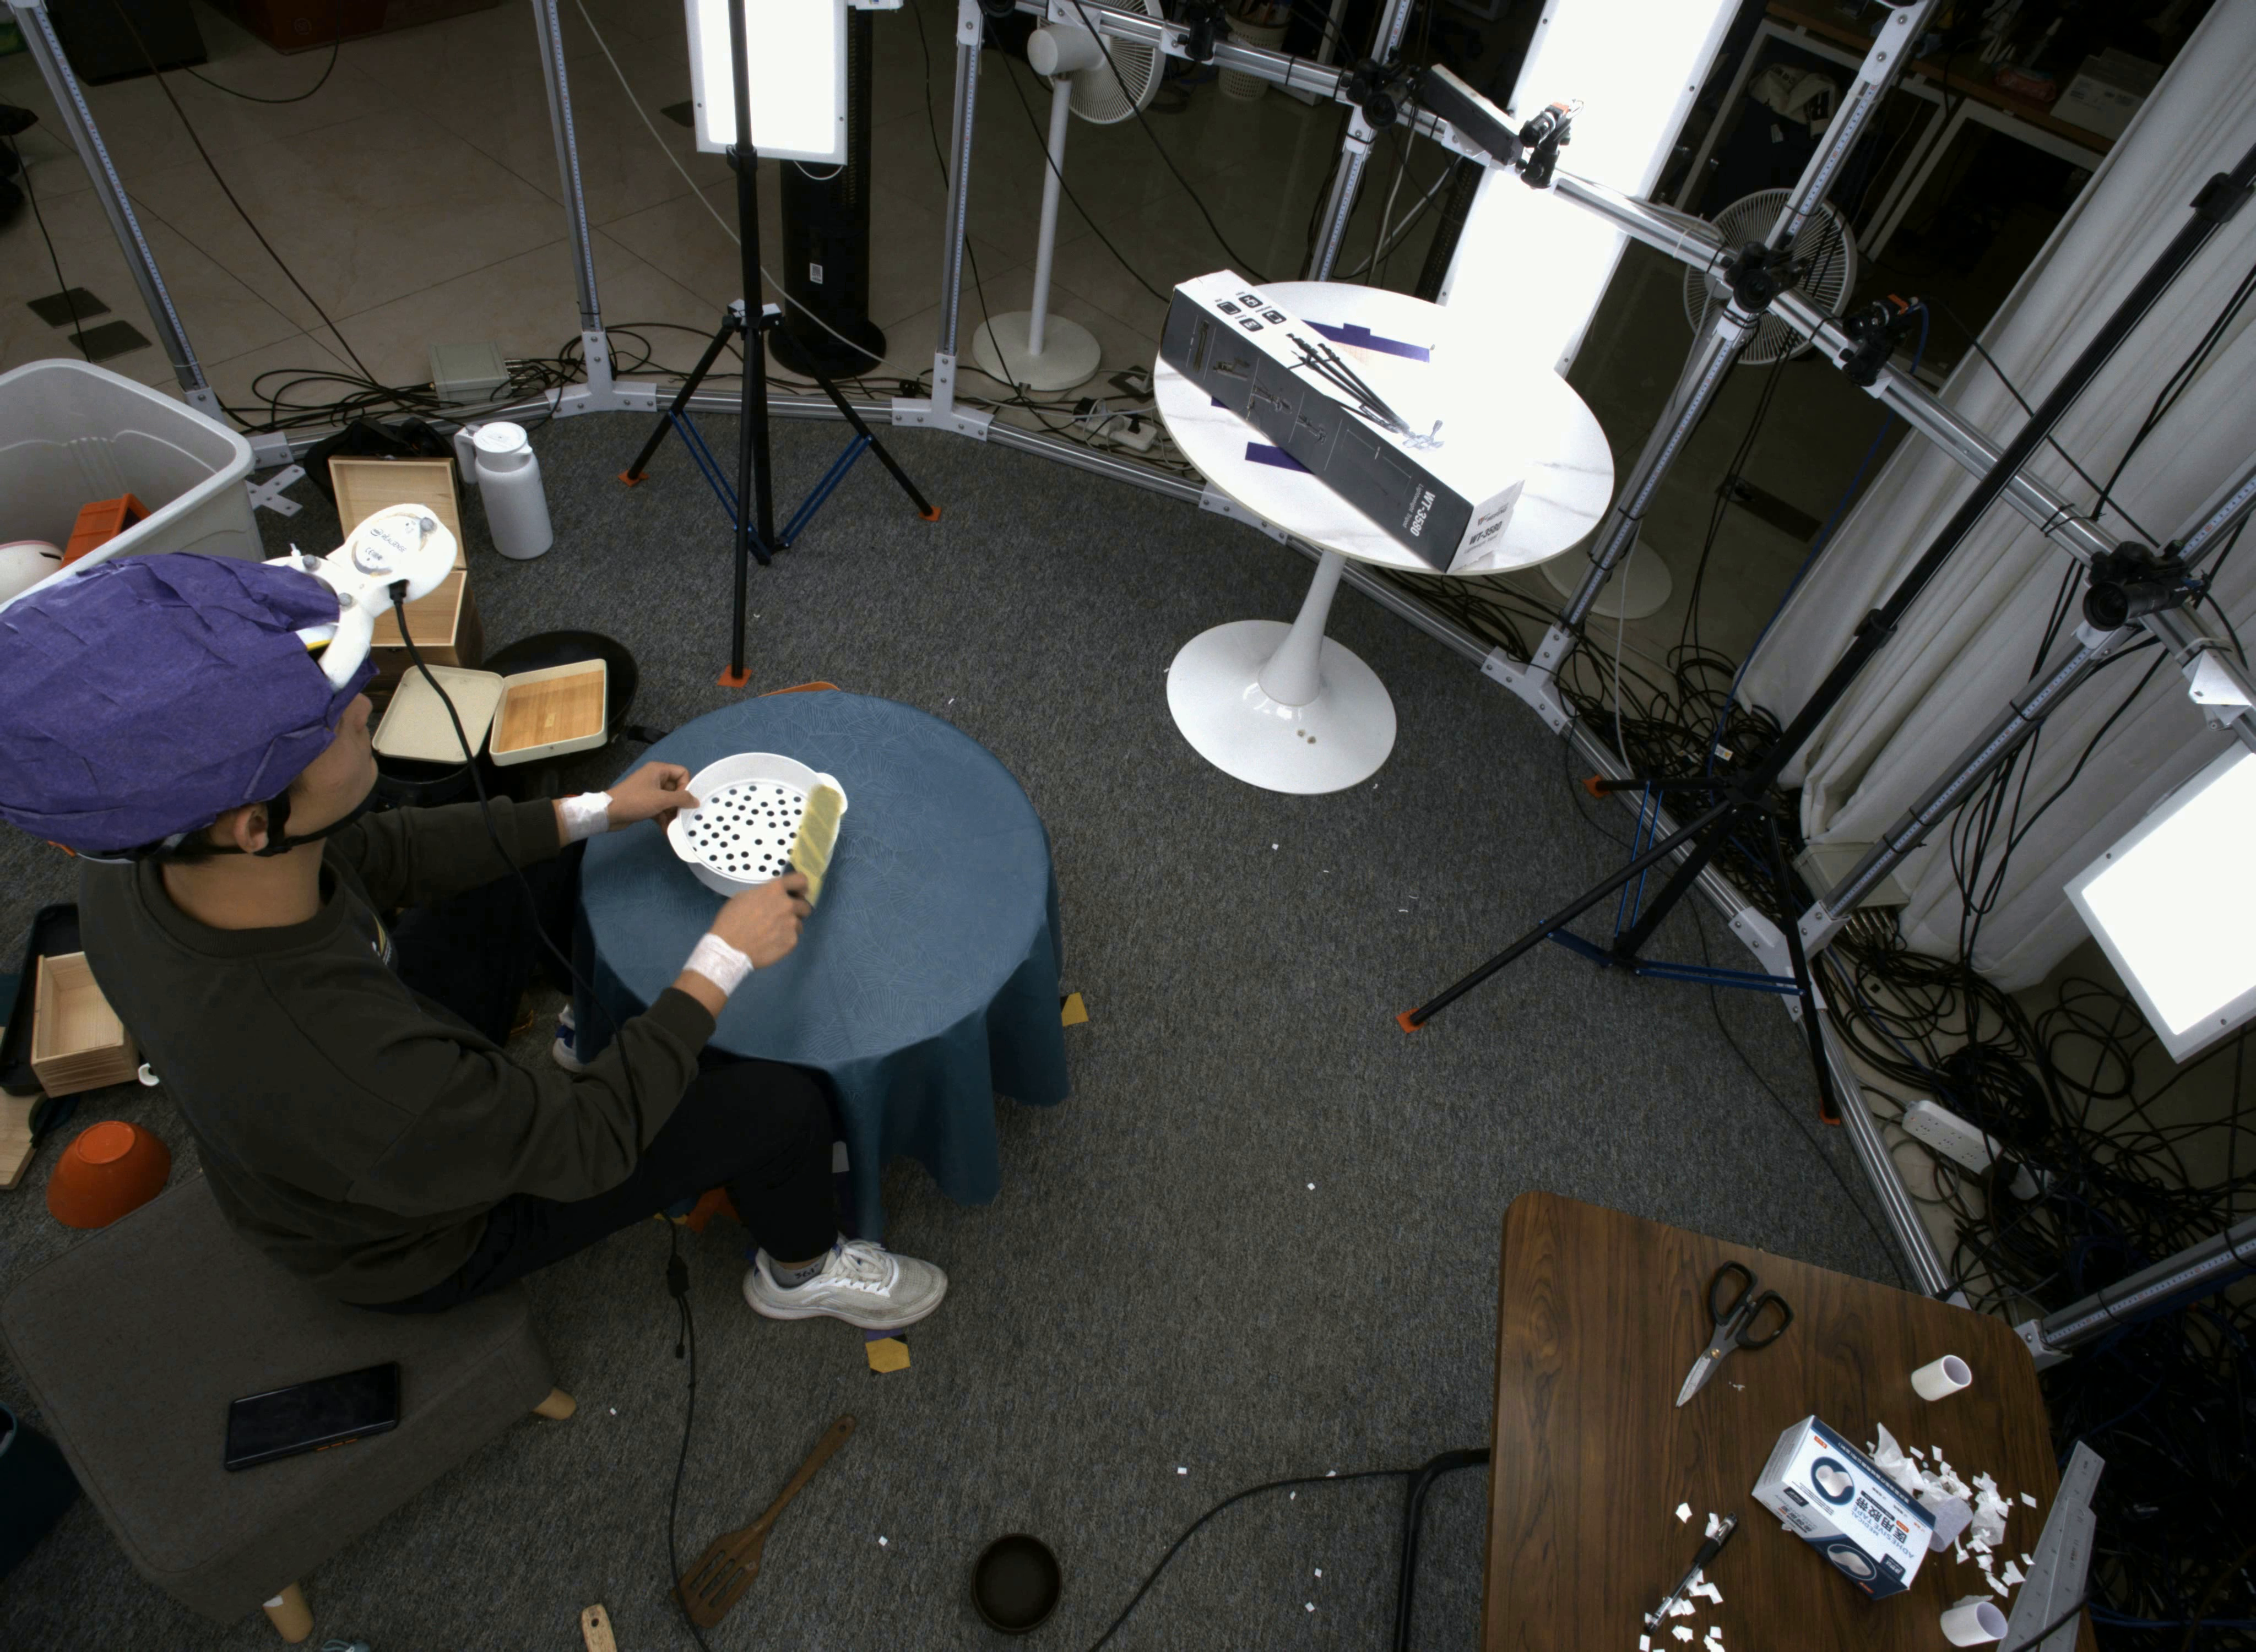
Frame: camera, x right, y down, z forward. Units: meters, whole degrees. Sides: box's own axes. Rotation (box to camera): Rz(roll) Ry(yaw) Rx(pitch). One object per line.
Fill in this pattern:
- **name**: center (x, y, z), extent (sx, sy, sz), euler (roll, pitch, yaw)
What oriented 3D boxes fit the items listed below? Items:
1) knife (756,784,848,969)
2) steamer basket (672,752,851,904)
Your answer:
- **knife**: center (-0.386, 0.058, 1.558), extent (0.026, 0.084, 0.285), euler (-7, 46, 21)
- **steamer basket**: center (-0.470, 0.002, 1.673), extent (0.232, 0.070, 0.197), euler (-22, 65, -28)
